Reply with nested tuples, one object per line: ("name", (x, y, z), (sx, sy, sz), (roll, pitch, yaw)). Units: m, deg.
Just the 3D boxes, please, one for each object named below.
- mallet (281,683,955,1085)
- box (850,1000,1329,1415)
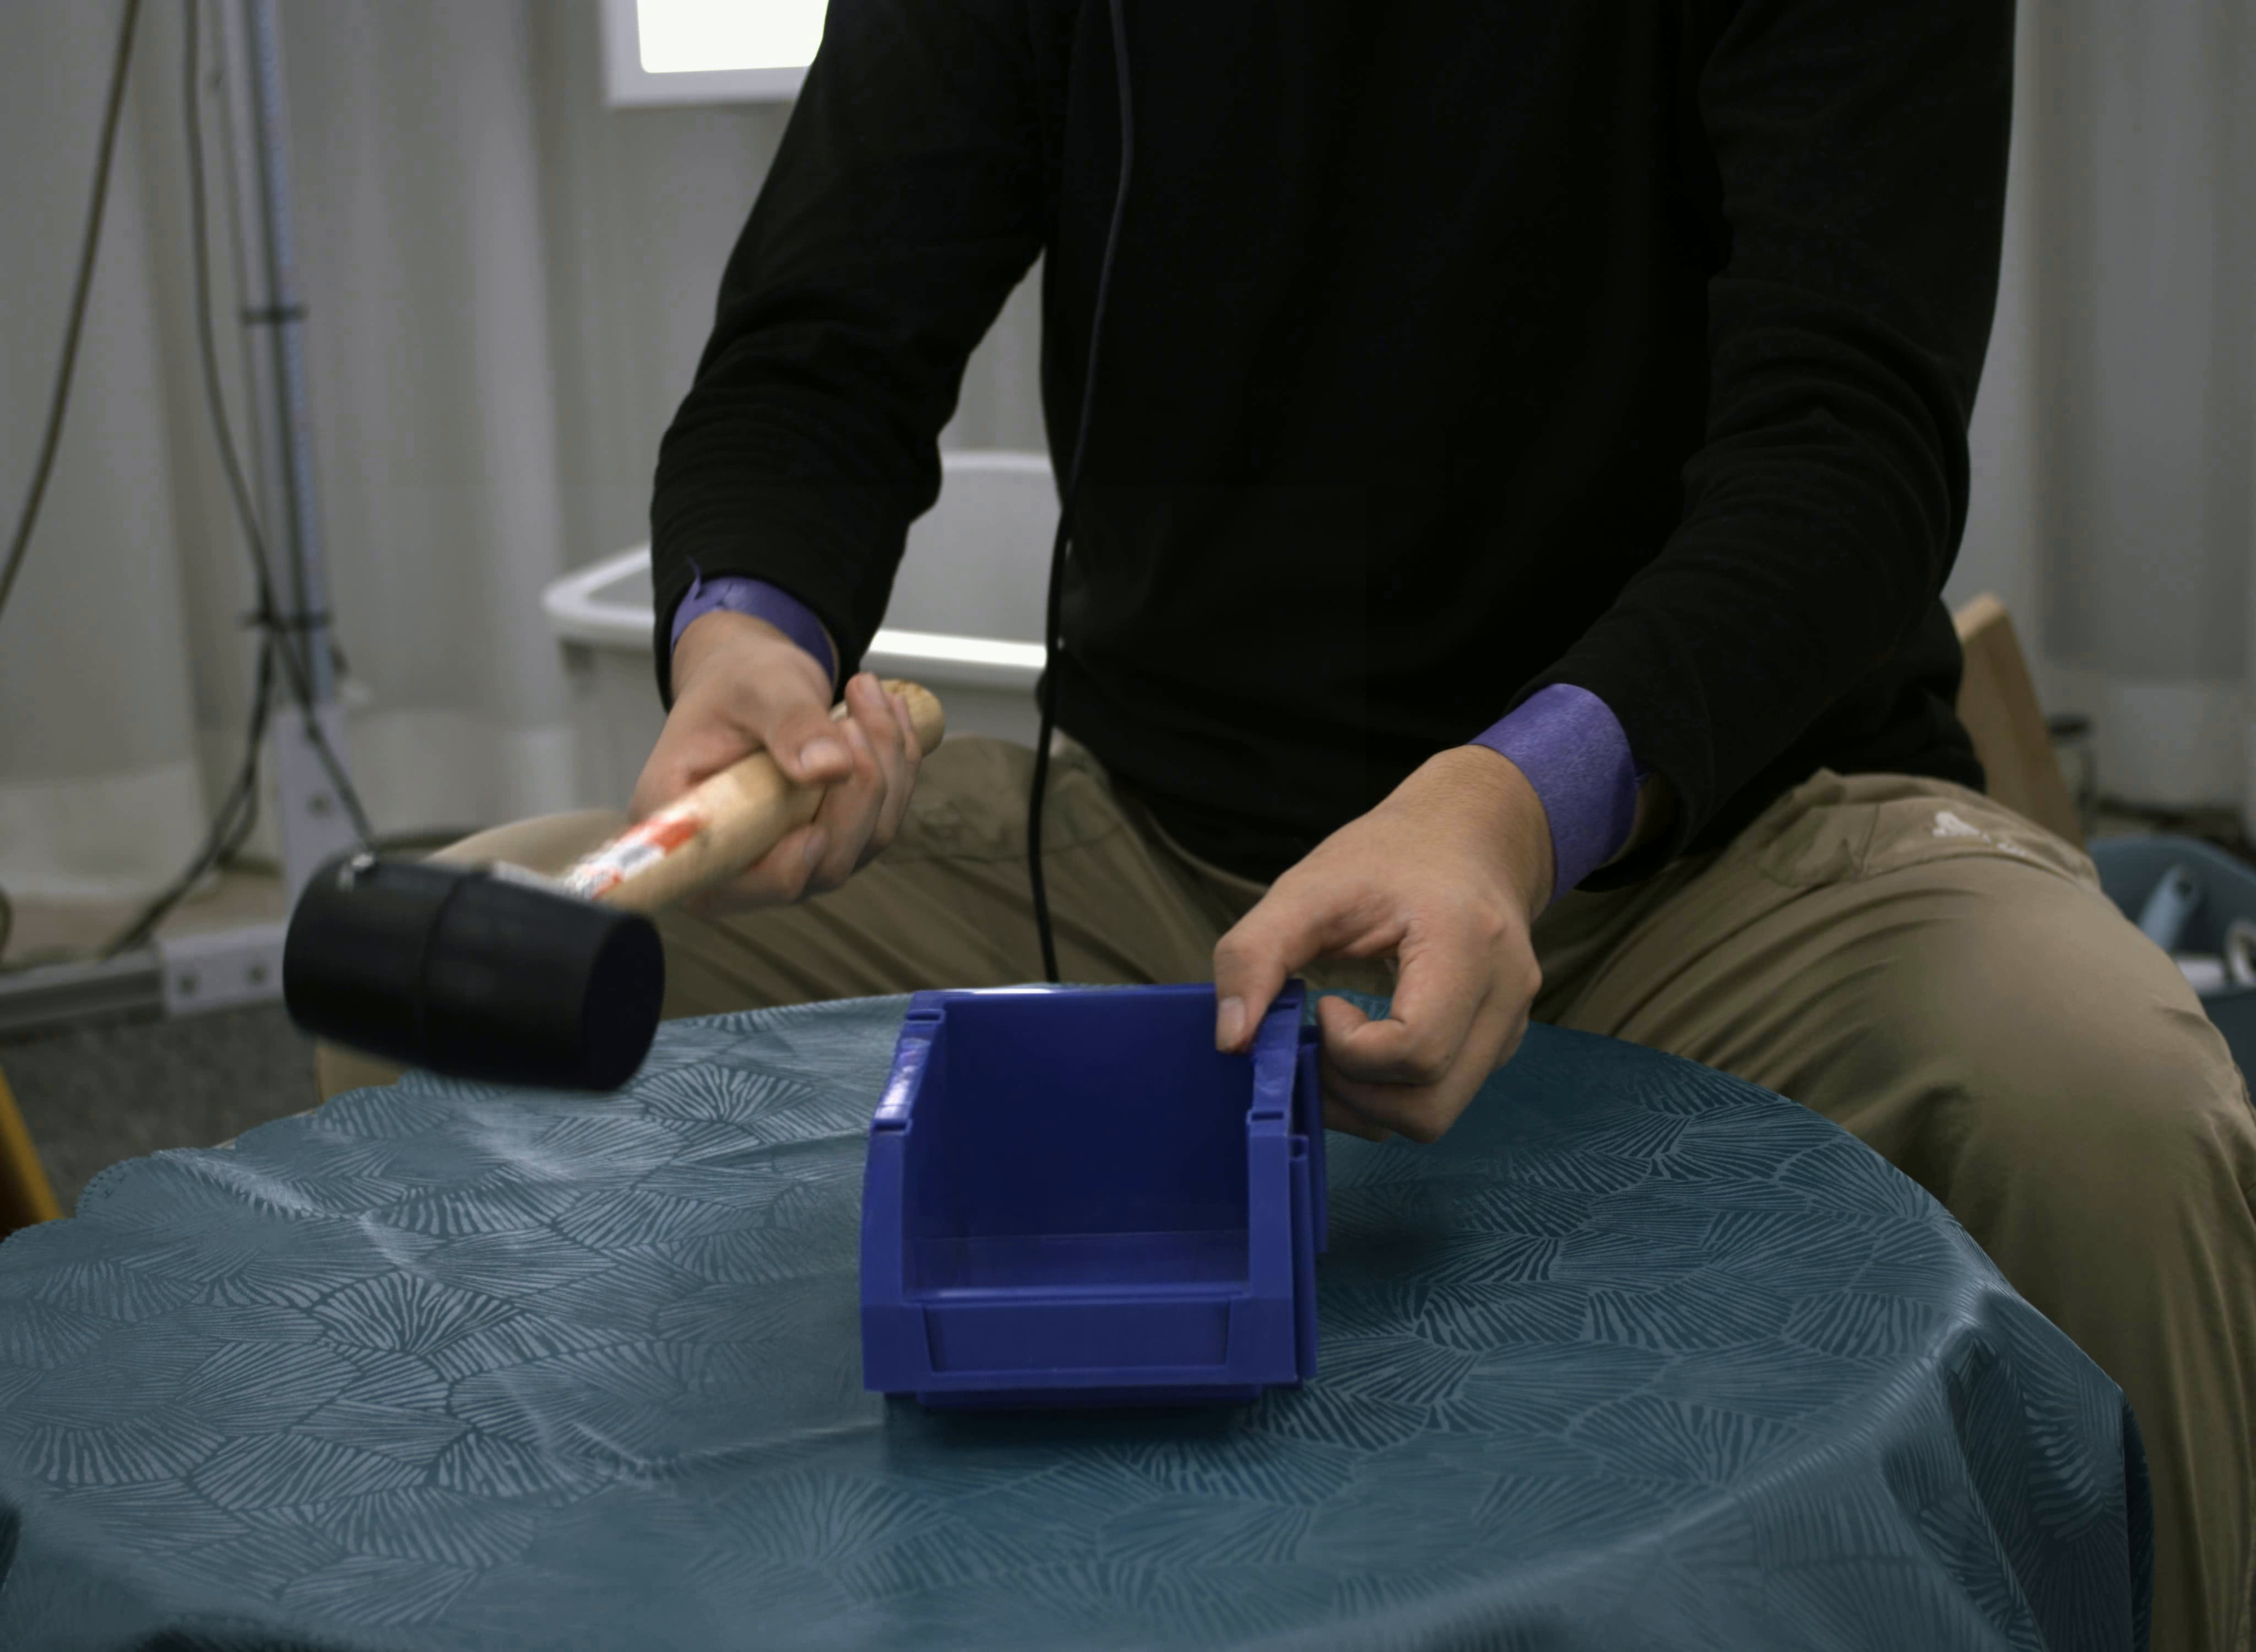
("mallet", (-0.136, -0.003, 1.698), (0.102, 0.064, 0.340), (14, 22, 19))
("box", (-0.008, 0.112, 1.570), (0.124, 0.081, 0.180), (-2, 11, 5))
